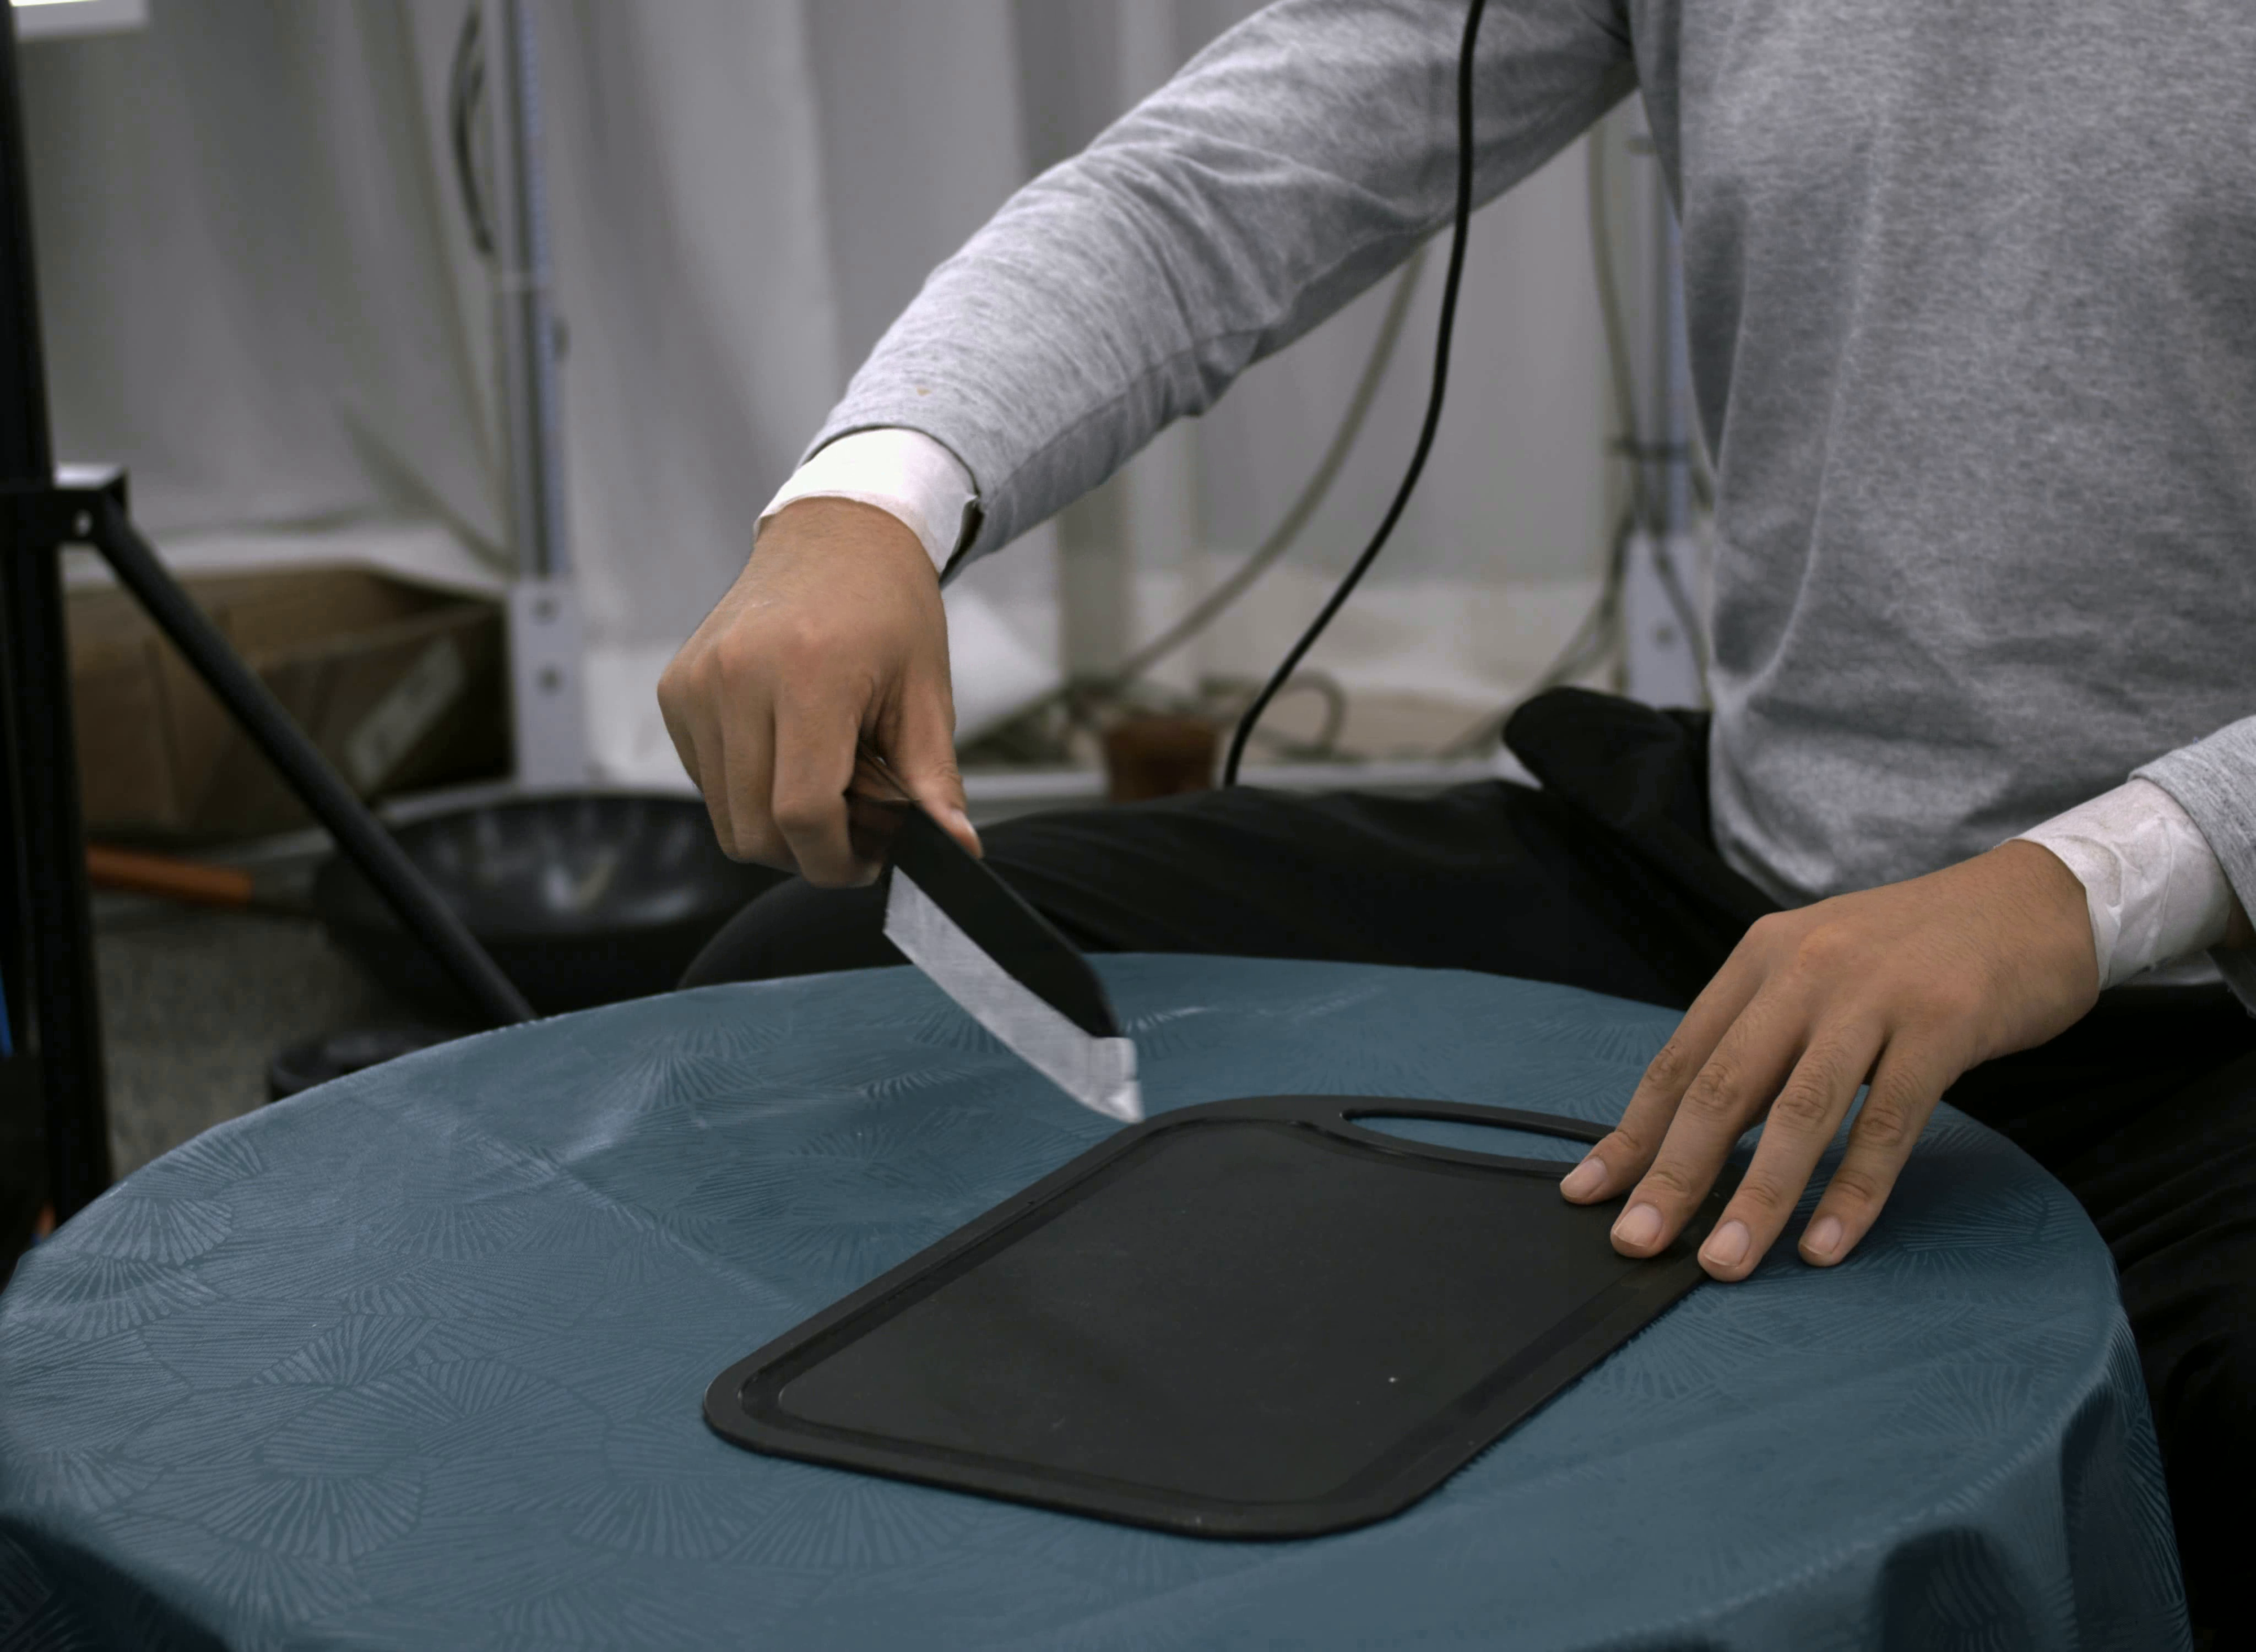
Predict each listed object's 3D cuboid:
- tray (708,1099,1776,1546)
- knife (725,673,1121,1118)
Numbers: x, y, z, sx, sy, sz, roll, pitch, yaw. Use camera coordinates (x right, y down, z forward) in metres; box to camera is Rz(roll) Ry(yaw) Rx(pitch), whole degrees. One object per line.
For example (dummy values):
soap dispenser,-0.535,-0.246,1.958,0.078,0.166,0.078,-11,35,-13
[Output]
tray,0.041,0.128,1.475,0.215,0.010,0.319,8,18,31
knife,-0.060,0.017,1.551,0.019,0.050,0.295,-1,24,-25
